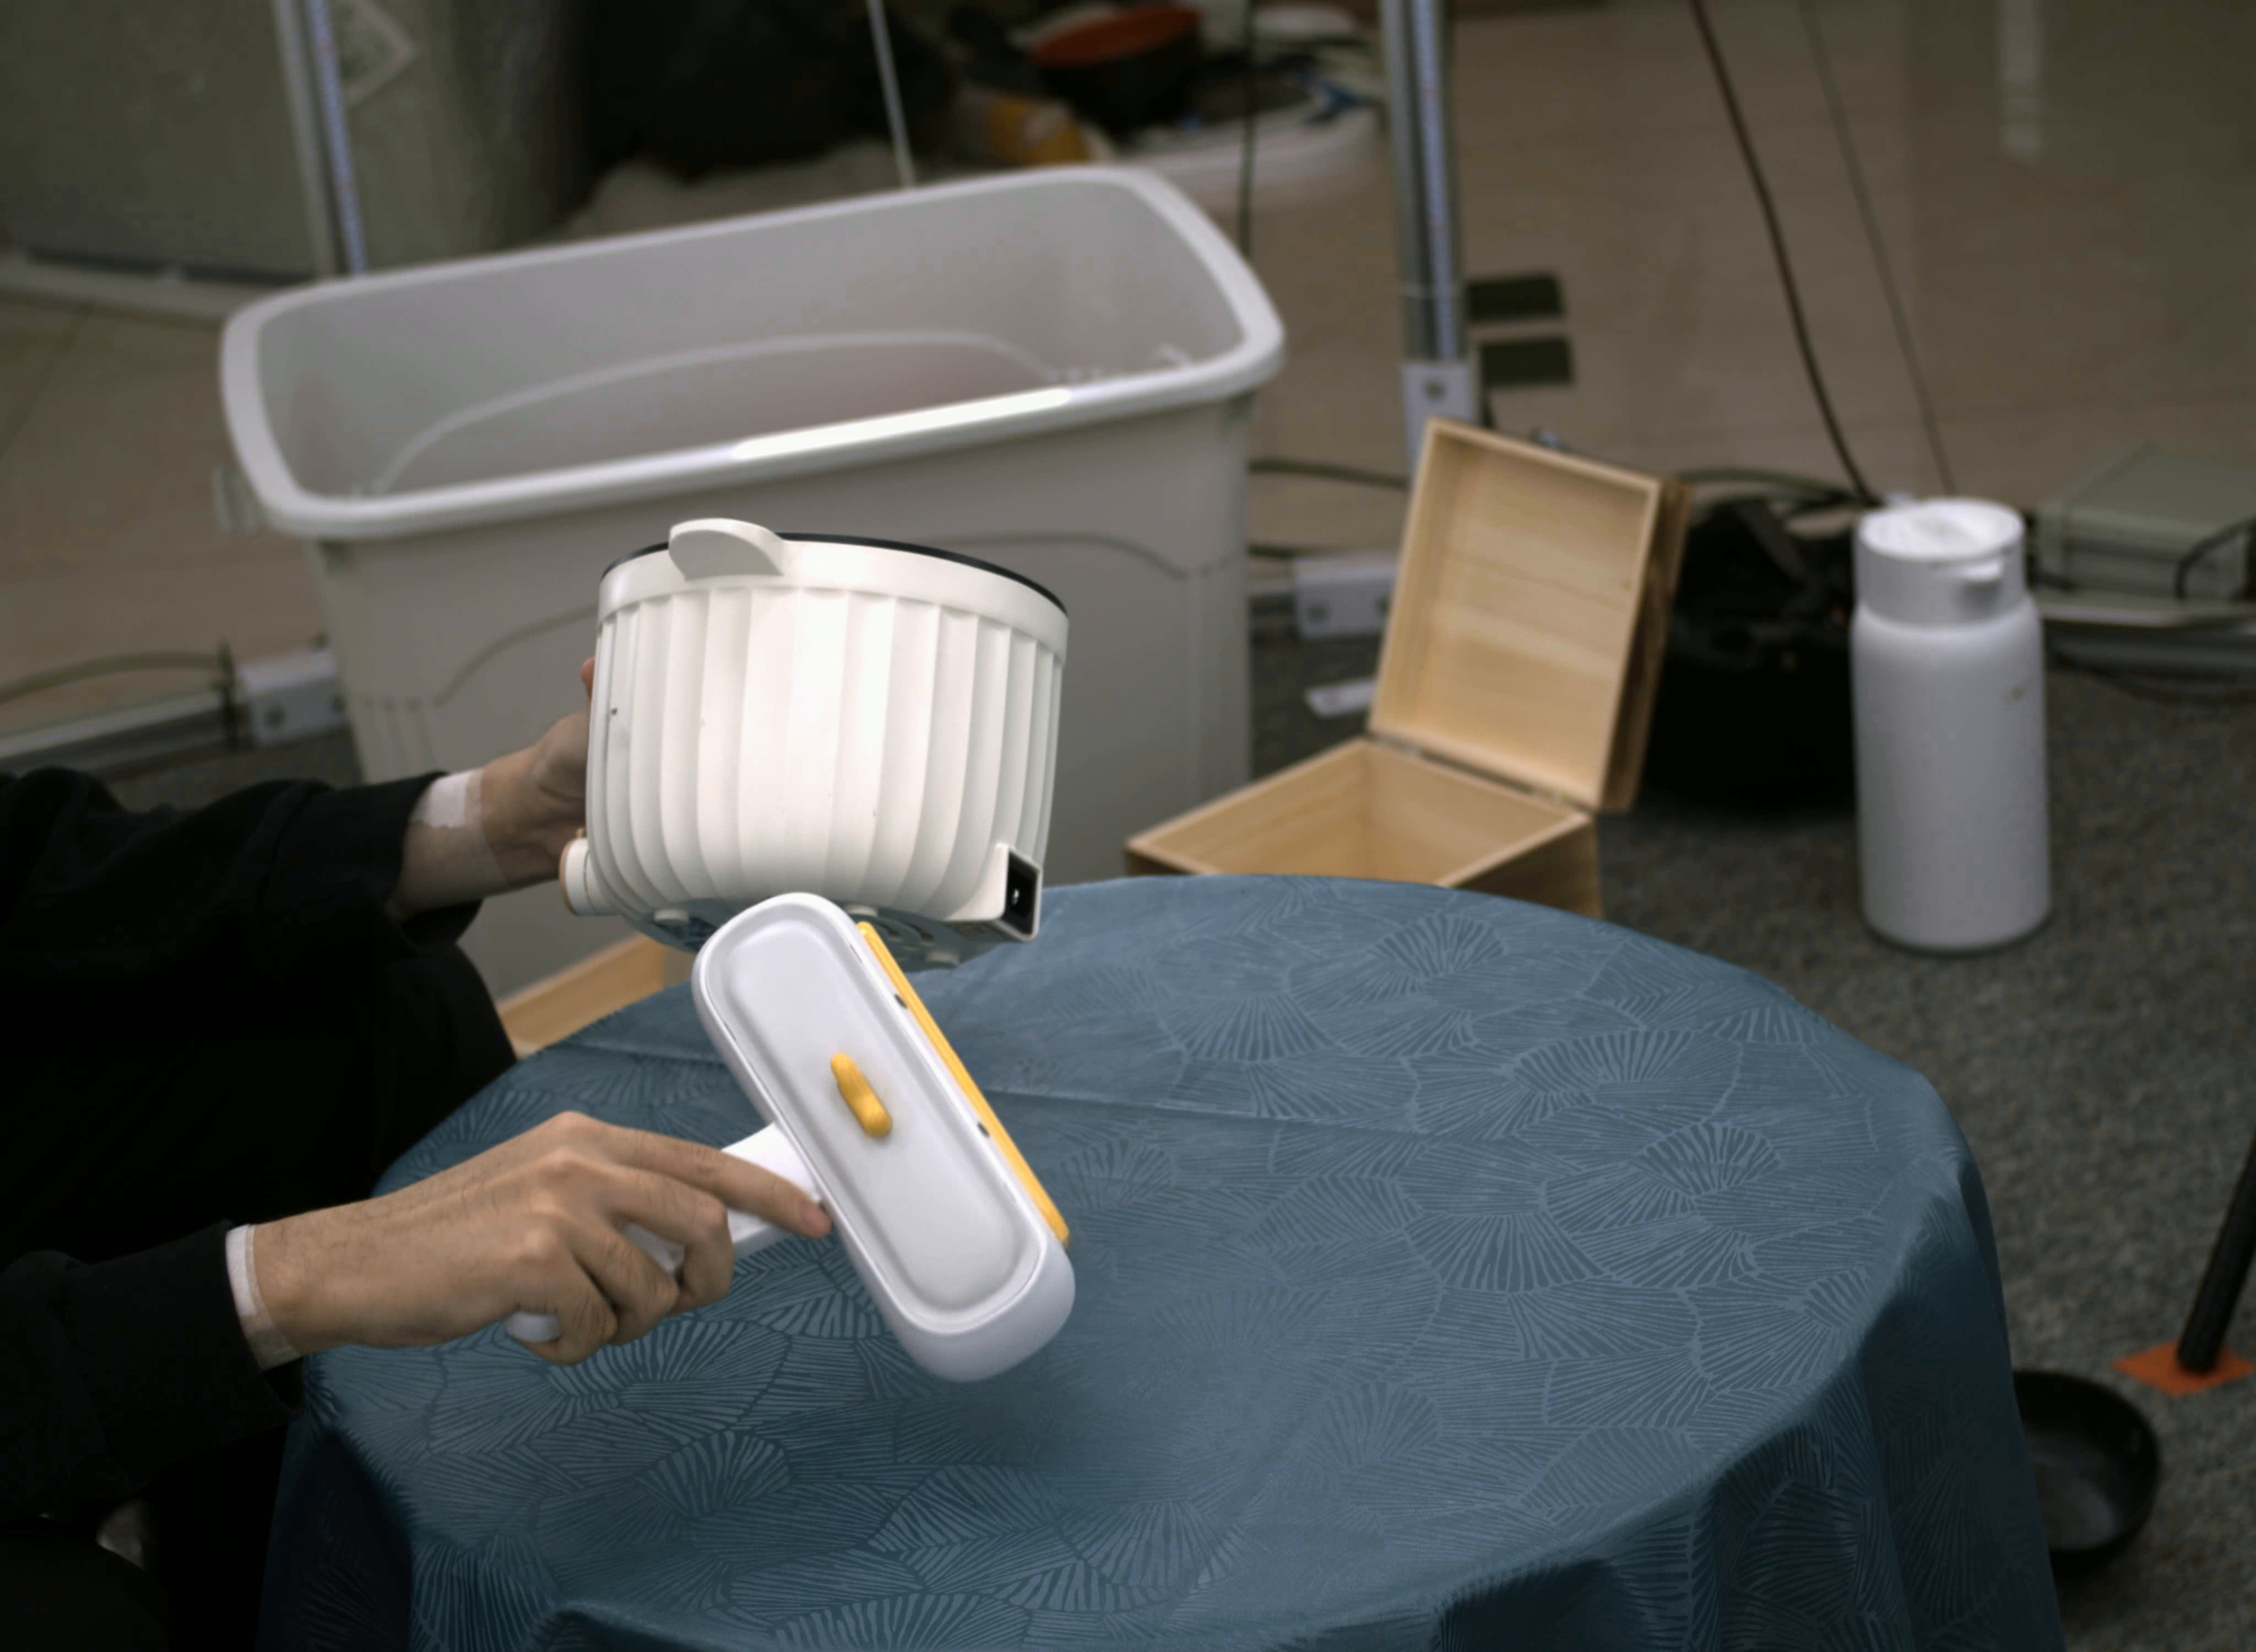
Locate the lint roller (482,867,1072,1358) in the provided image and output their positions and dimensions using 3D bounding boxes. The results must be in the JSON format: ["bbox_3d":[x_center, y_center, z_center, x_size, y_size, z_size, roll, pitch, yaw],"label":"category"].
[{"bbox_3d":[-0.139,0.125,1.973,0.191,0.075,0.191,-32,74,-15],"label":"lint roller"}]

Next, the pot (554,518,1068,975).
[{"bbox_3d":[-0.123,-0.022,2.156,0.190,0.141,0.242,1,-15,21],"label":"pot"}]
